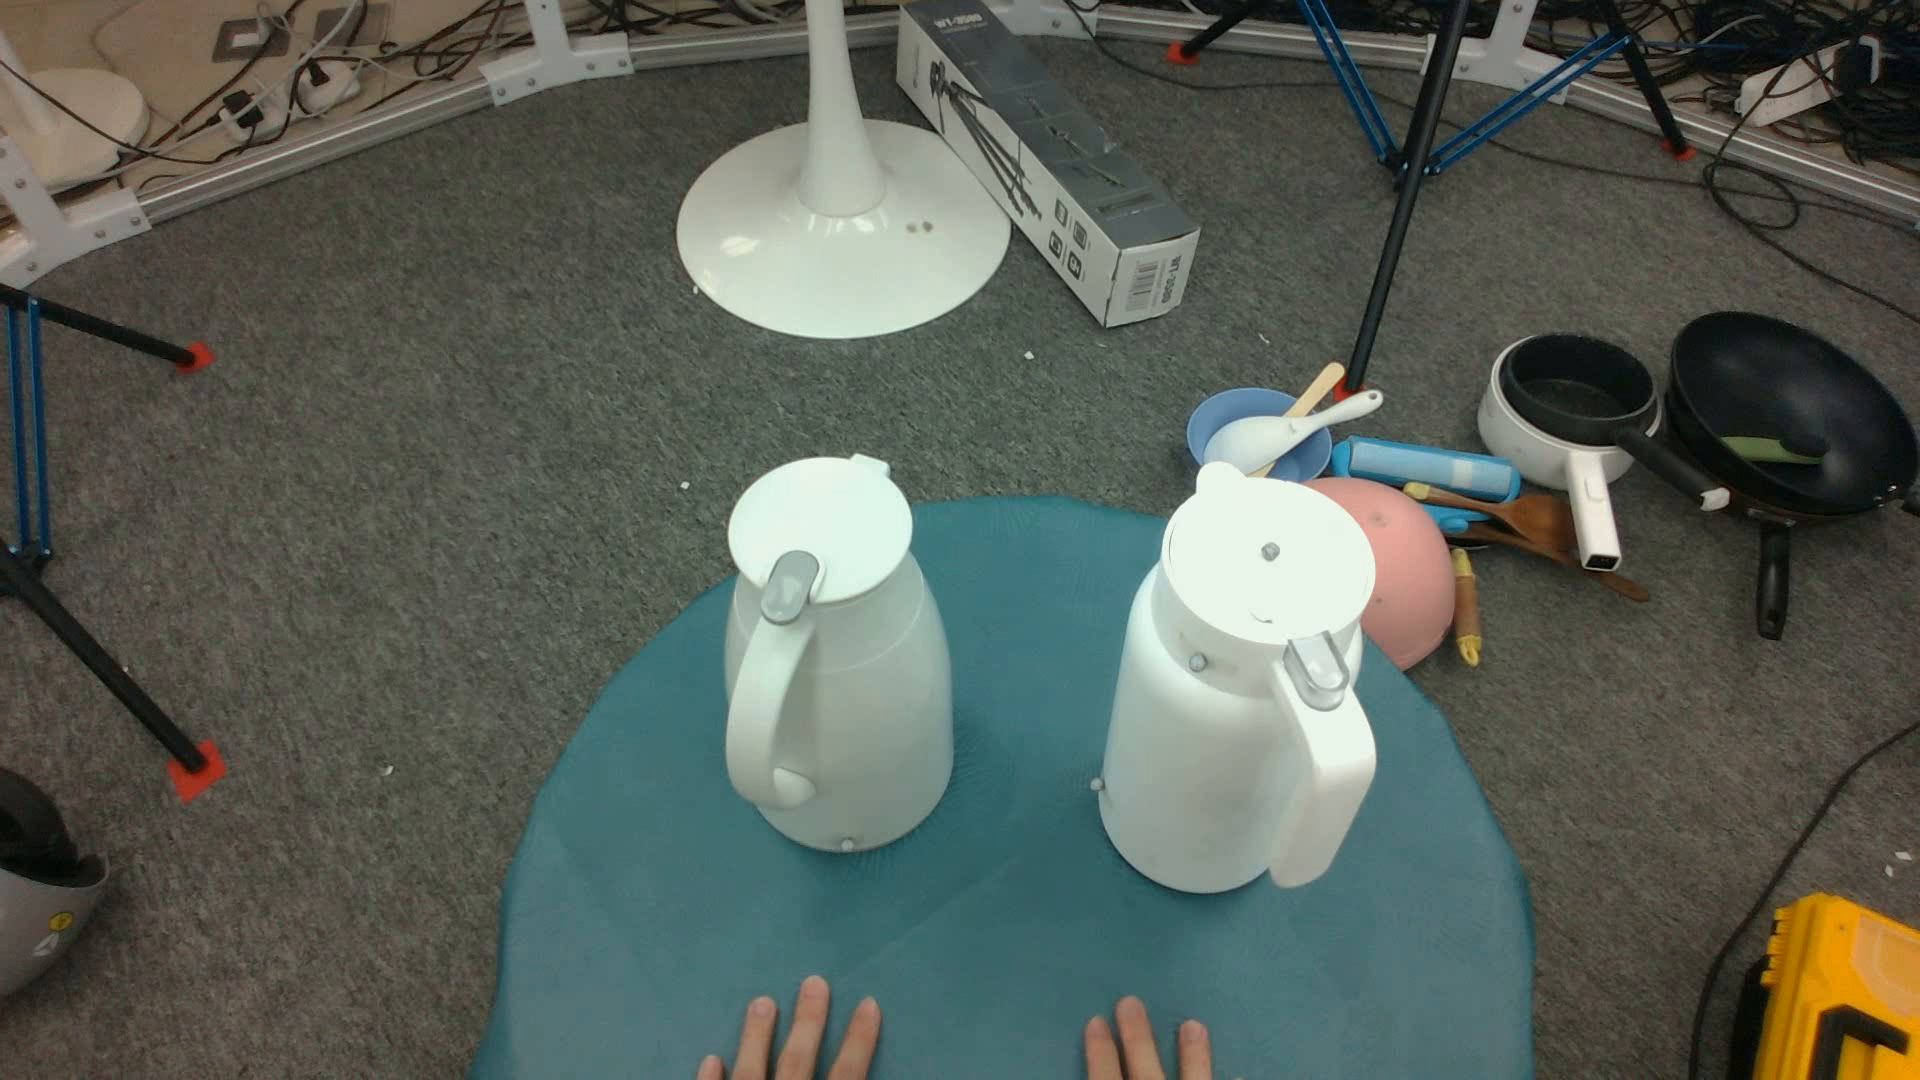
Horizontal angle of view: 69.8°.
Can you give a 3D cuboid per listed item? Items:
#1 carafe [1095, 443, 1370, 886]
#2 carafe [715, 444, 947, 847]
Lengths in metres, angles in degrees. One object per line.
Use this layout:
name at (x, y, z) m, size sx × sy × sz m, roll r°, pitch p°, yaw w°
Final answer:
carafe at (0.147, 0.095, 0.736) m, size 0.124 × 0.267 × 0.173 m, roll -12°, pitch 54°, yaw -12°
carafe at (-0.079, 0.073, 0.759) m, size 0.132 × 0.247 × 0.168 m, roll 17°, pitch 55°, yaw 12°
